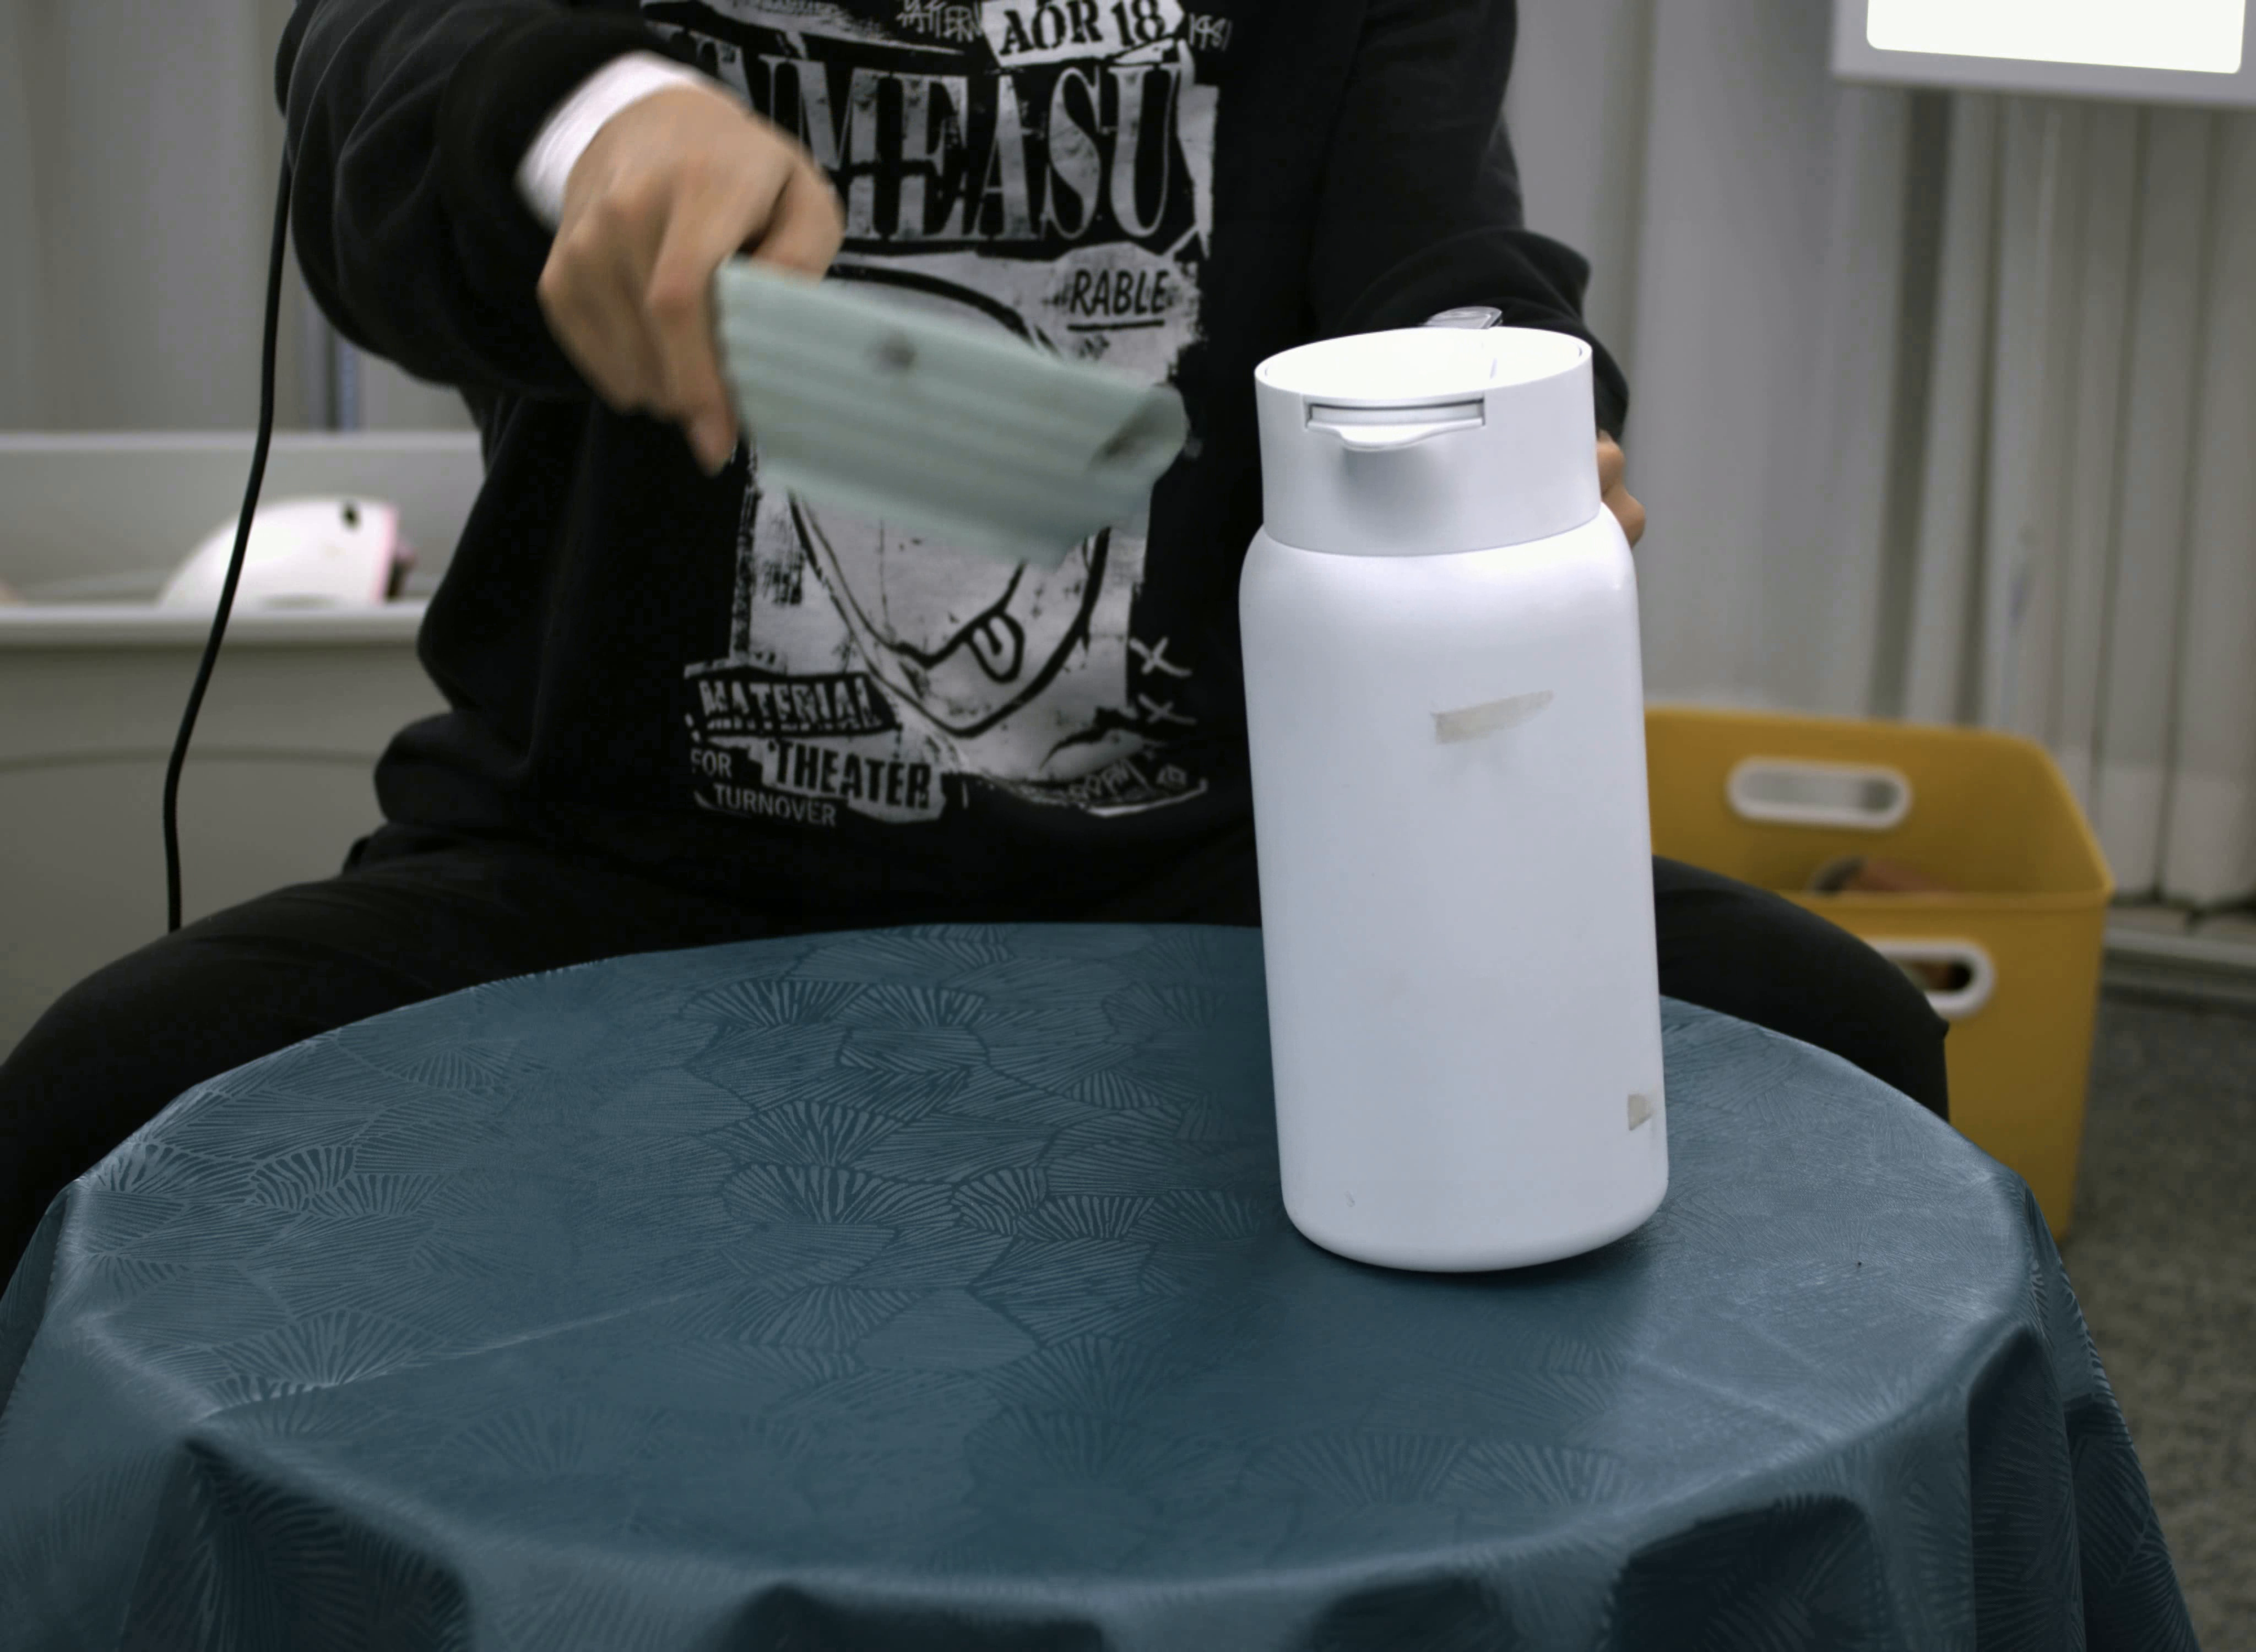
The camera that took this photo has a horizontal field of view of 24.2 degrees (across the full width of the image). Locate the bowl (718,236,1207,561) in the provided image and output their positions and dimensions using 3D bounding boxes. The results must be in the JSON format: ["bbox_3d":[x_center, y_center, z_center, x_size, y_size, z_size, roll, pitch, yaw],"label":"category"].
[{"bbox_3d":[-0.053,-0.114,1.461,0.151,0.059,0.151,18,2,0],"label":"bowl"}]

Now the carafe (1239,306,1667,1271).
[{"bbox_3d":[0.098,-0.015,1.572,0.123,0.271,0.172,-2,17,15],"label":"carafe"}]
